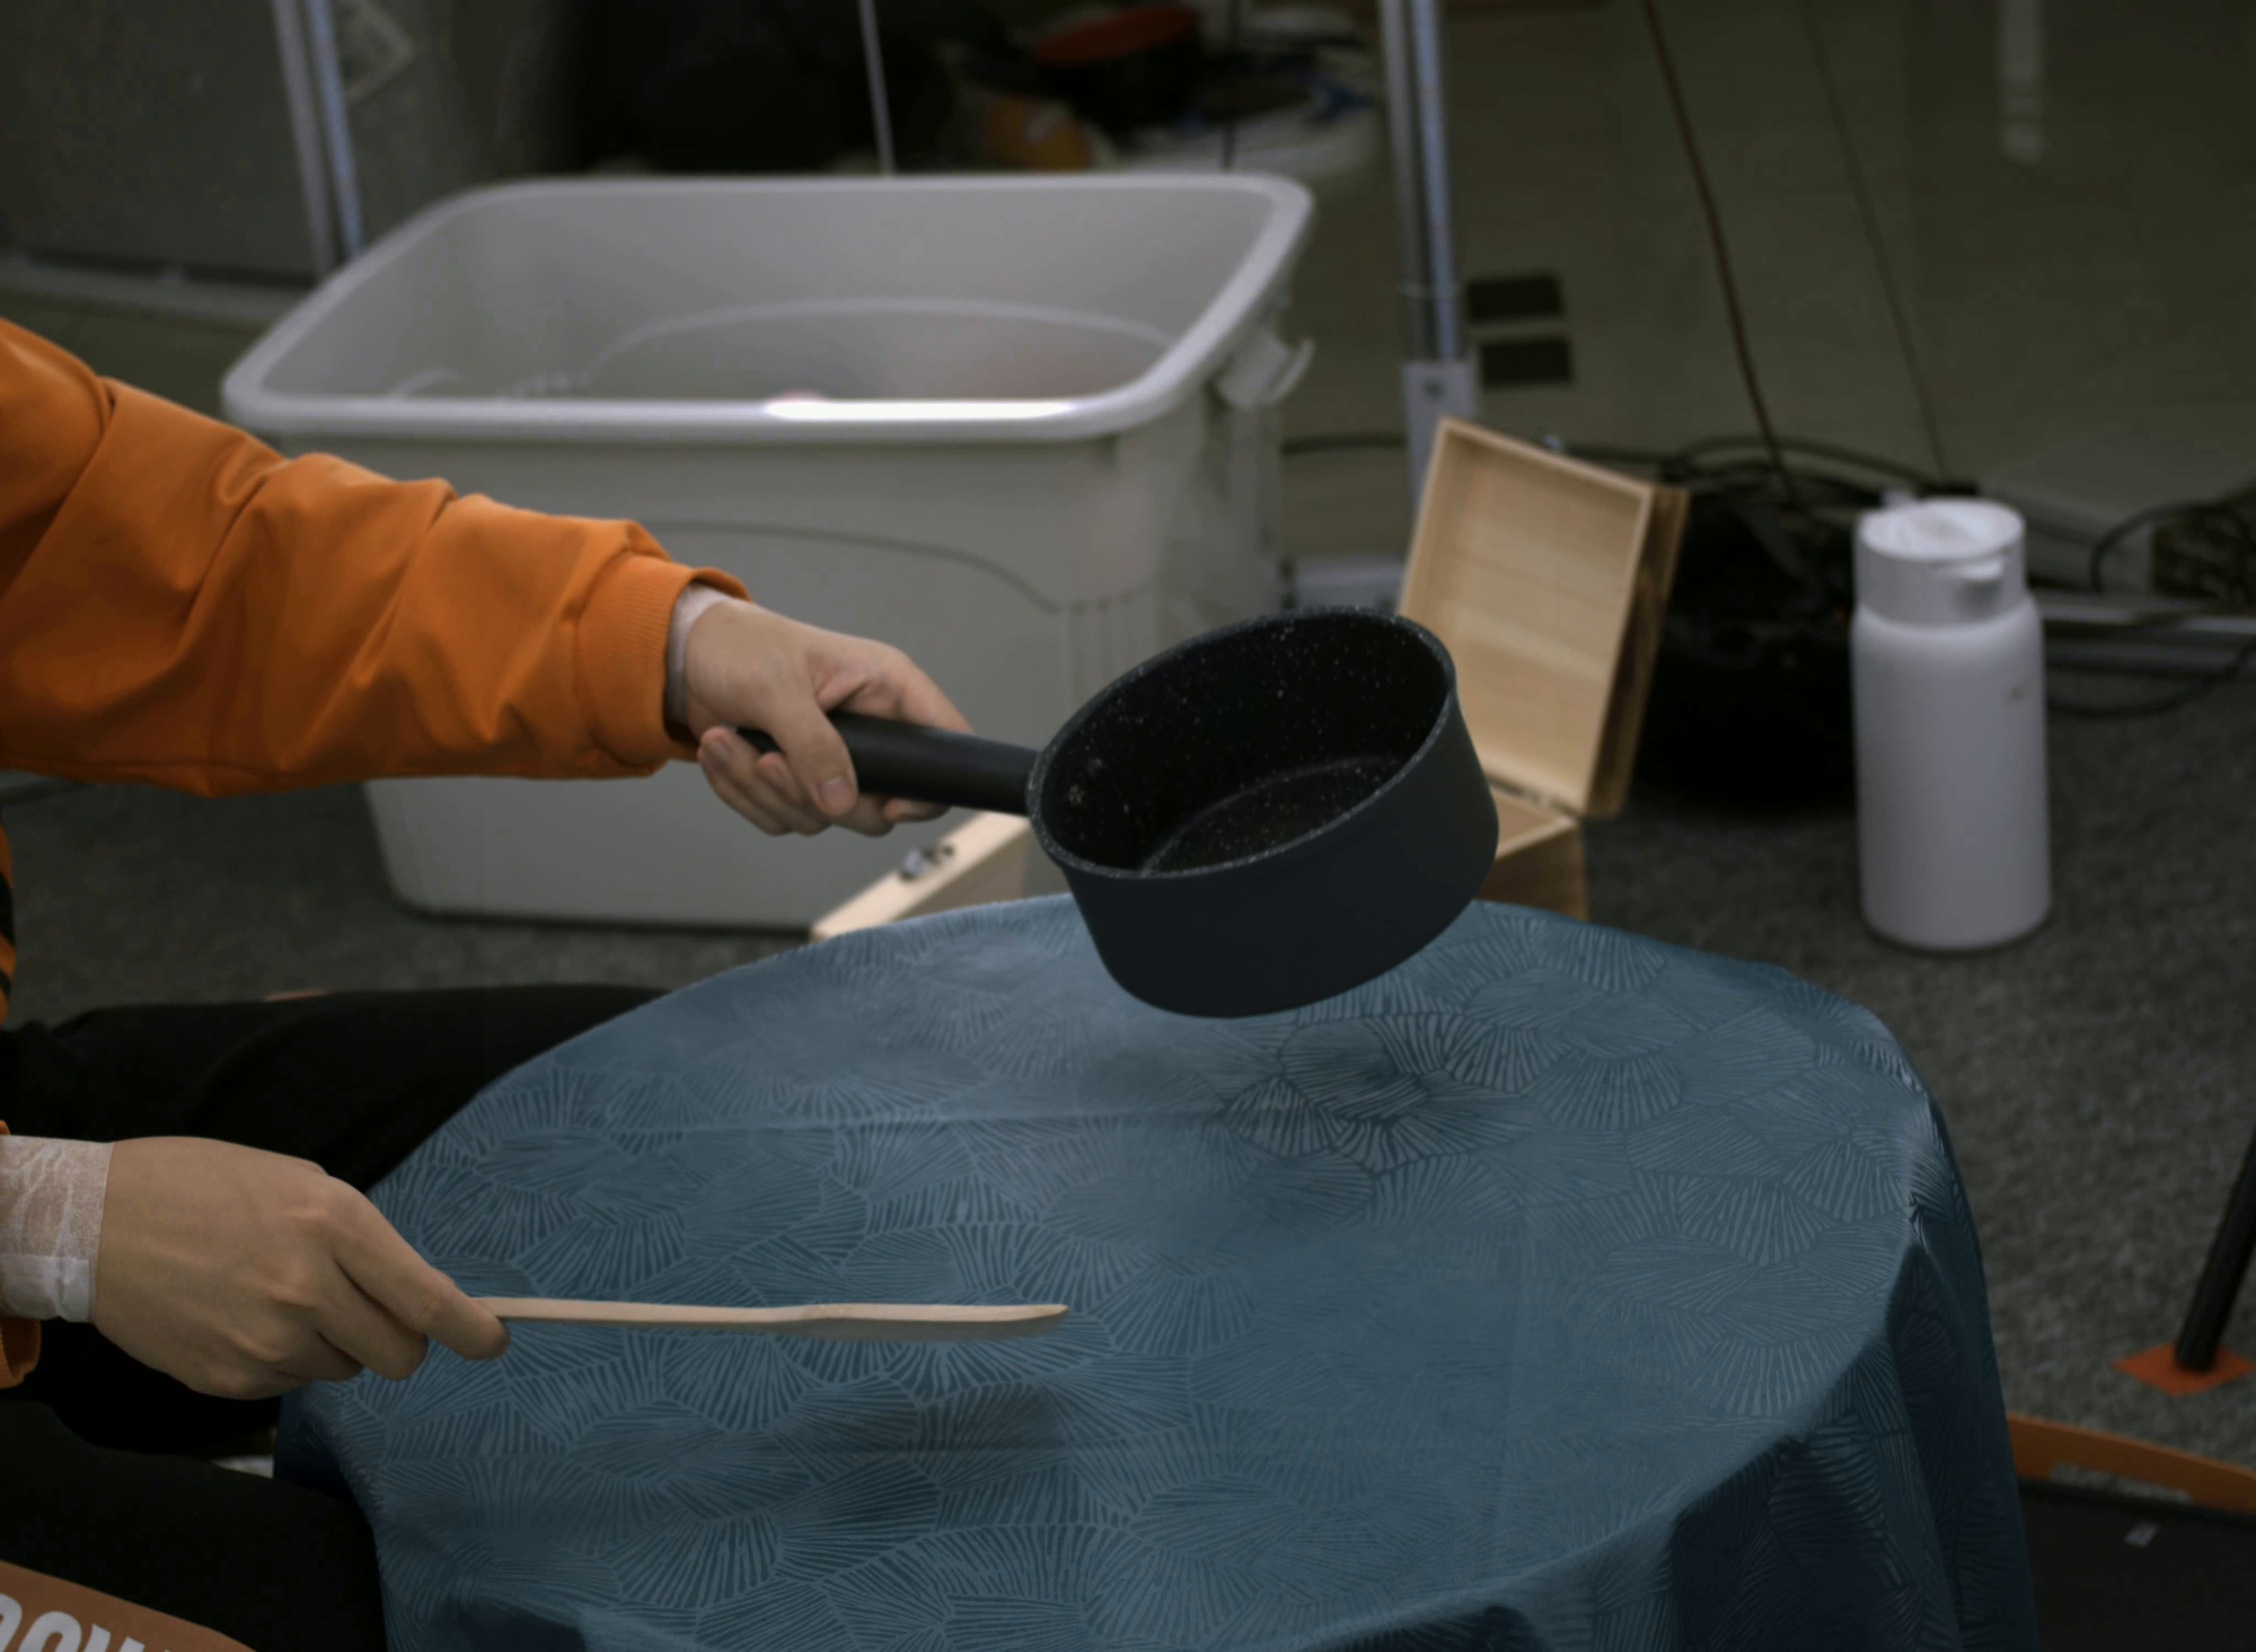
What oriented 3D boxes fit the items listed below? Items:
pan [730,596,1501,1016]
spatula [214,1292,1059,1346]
[{"bbox_3d":[-0.011,-0.012,2.202,0.327,0.088,0.169,4,41,35],"label":"pan"},{"bbox_3d":[-0.170,0.170,1.970,0.292,0.010,0.072,2,-10,-4],"label":"spatula"}]
